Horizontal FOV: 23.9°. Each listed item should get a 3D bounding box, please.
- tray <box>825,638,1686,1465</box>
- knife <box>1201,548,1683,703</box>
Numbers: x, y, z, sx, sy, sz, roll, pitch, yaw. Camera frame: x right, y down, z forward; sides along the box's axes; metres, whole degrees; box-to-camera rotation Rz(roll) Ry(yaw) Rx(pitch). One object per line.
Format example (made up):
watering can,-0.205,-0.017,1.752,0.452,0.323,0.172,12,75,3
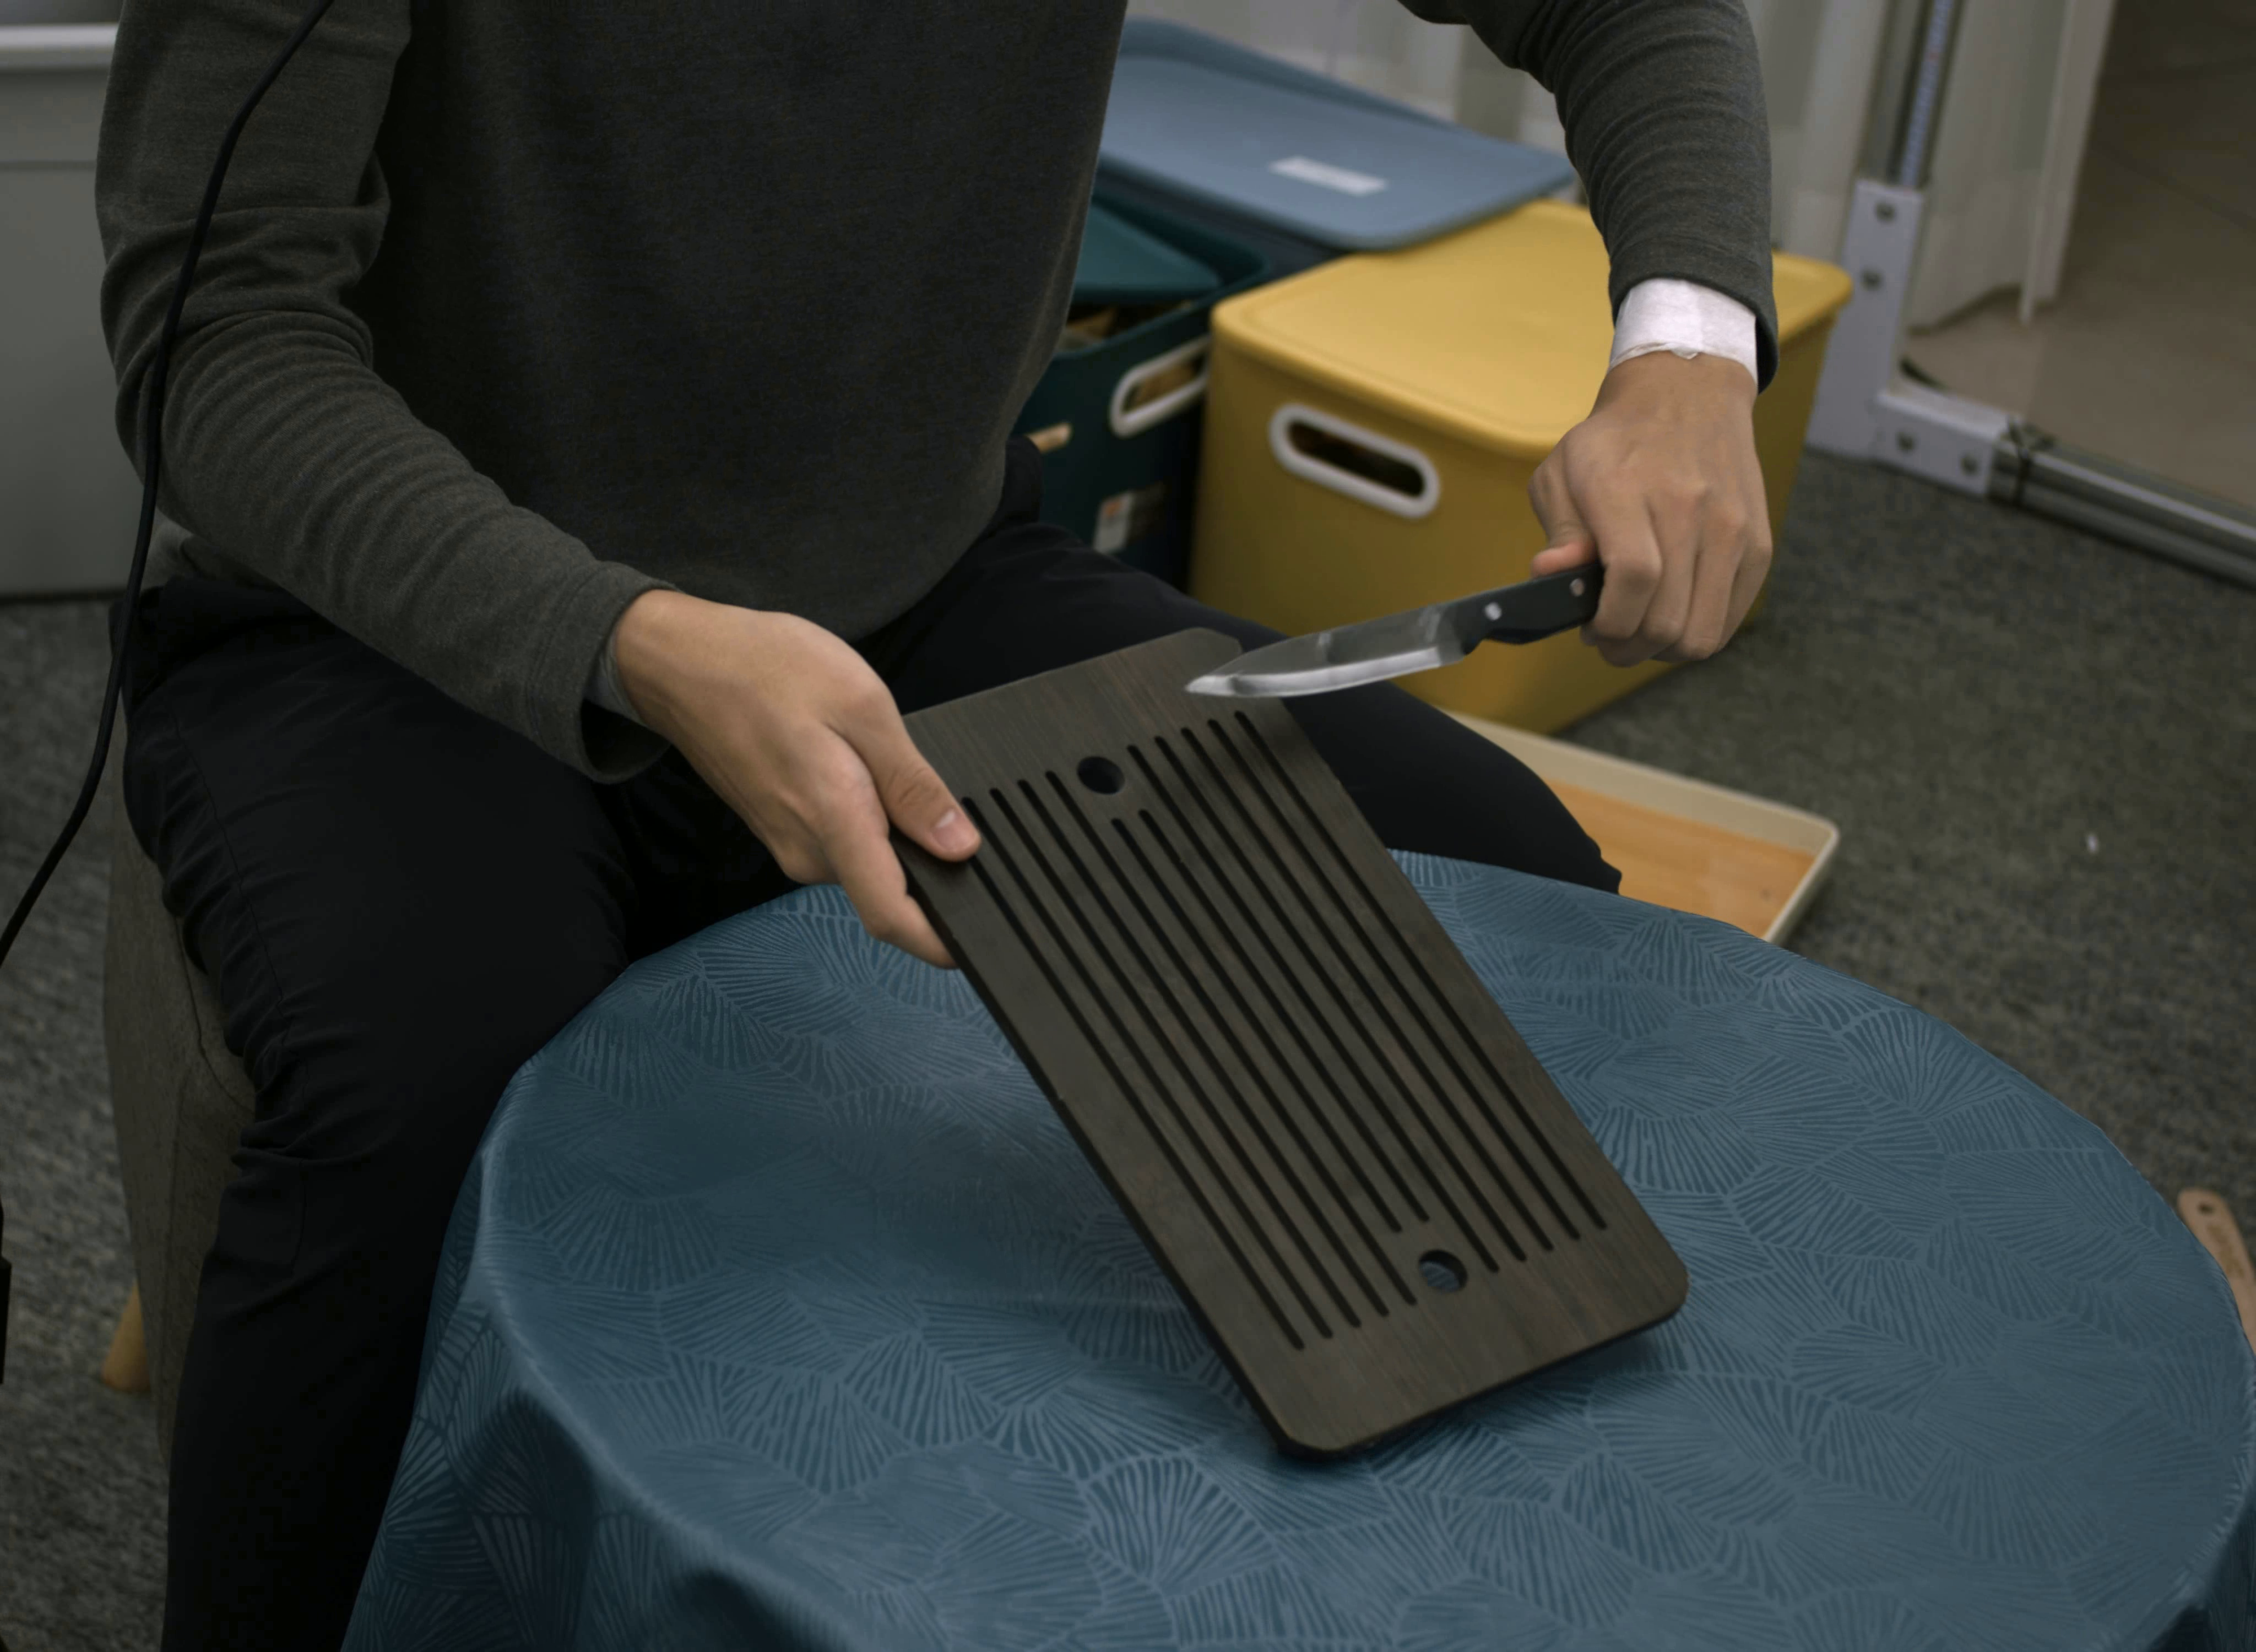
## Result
tray,0.039,0.069,1.768,0.169,0.018,0.308,-17,59,-32
knife,0.111,-0.071,1.870,0.237,0.024,0.016,-15,-1,-40
